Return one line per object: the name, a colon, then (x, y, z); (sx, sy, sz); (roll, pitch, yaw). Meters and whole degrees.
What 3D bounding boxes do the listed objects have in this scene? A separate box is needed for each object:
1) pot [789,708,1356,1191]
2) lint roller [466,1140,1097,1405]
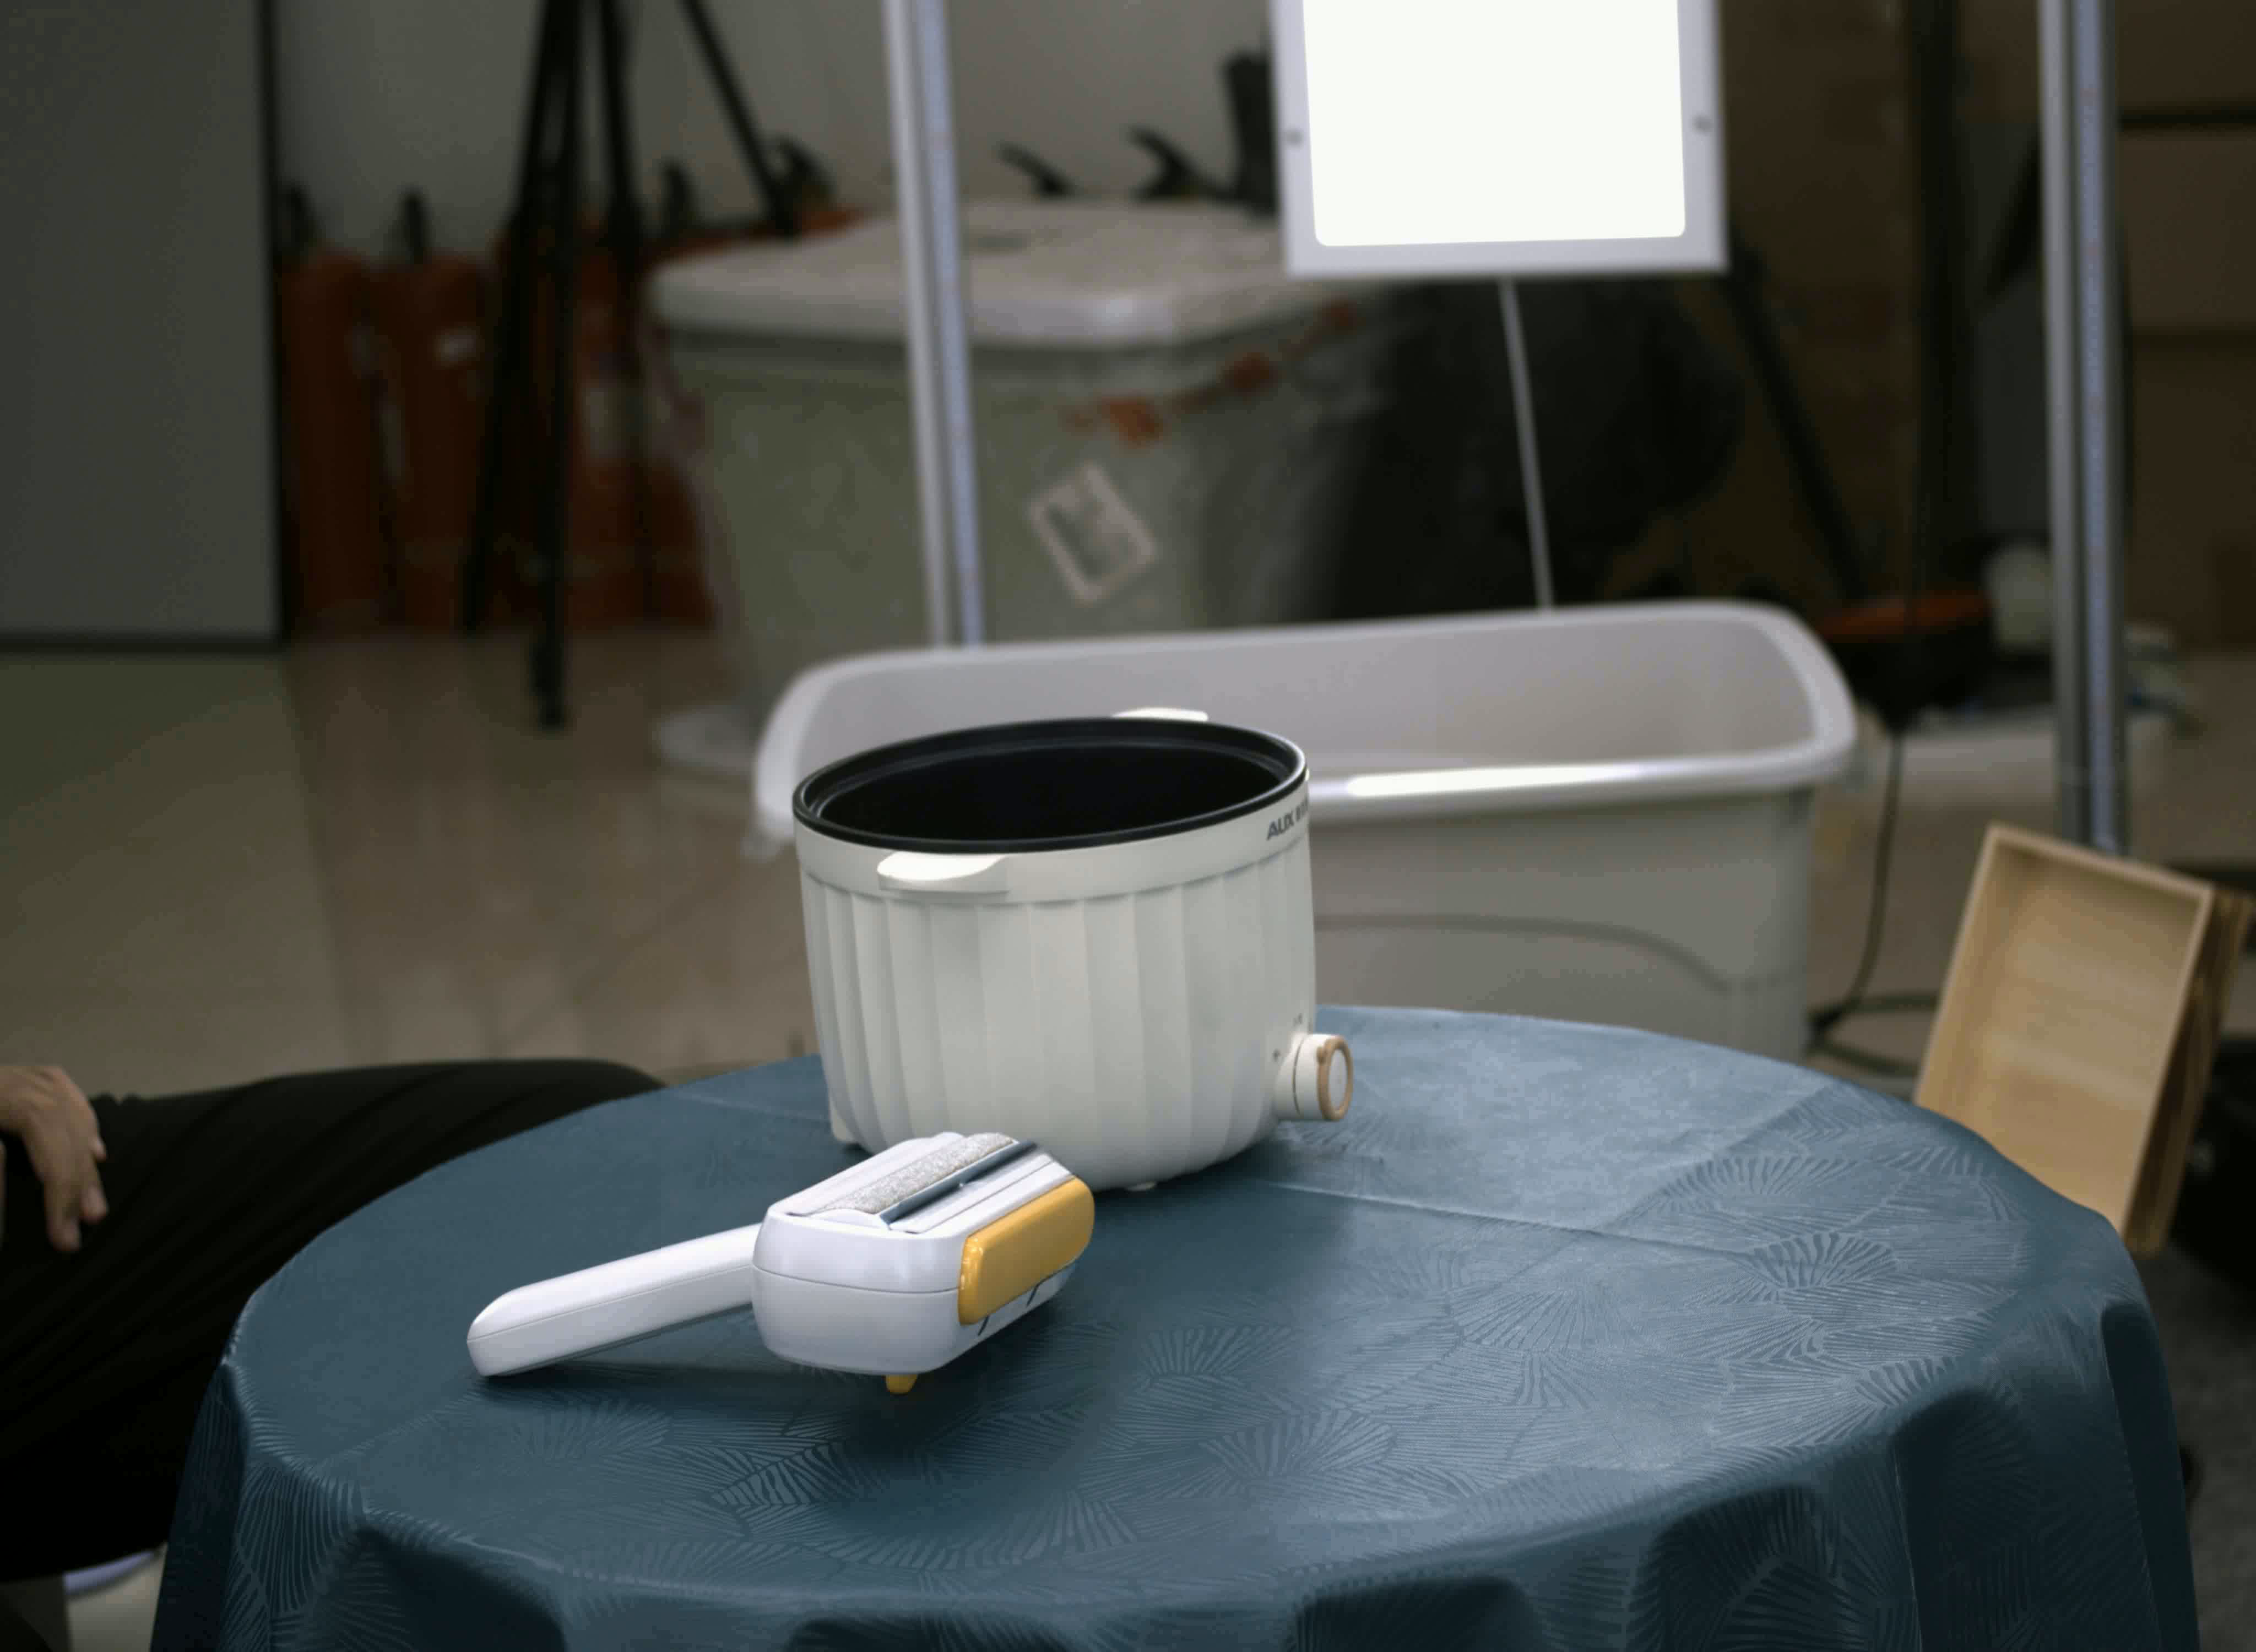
pot: (-0.017, 0.047, 1.932); (0.193, 0.143, 0.236); (-2, 15, 23)
lint roller: (-0.120, 0.142, 1.735); (0.195, 0.074, 0.190); (-2, 8, 19)
